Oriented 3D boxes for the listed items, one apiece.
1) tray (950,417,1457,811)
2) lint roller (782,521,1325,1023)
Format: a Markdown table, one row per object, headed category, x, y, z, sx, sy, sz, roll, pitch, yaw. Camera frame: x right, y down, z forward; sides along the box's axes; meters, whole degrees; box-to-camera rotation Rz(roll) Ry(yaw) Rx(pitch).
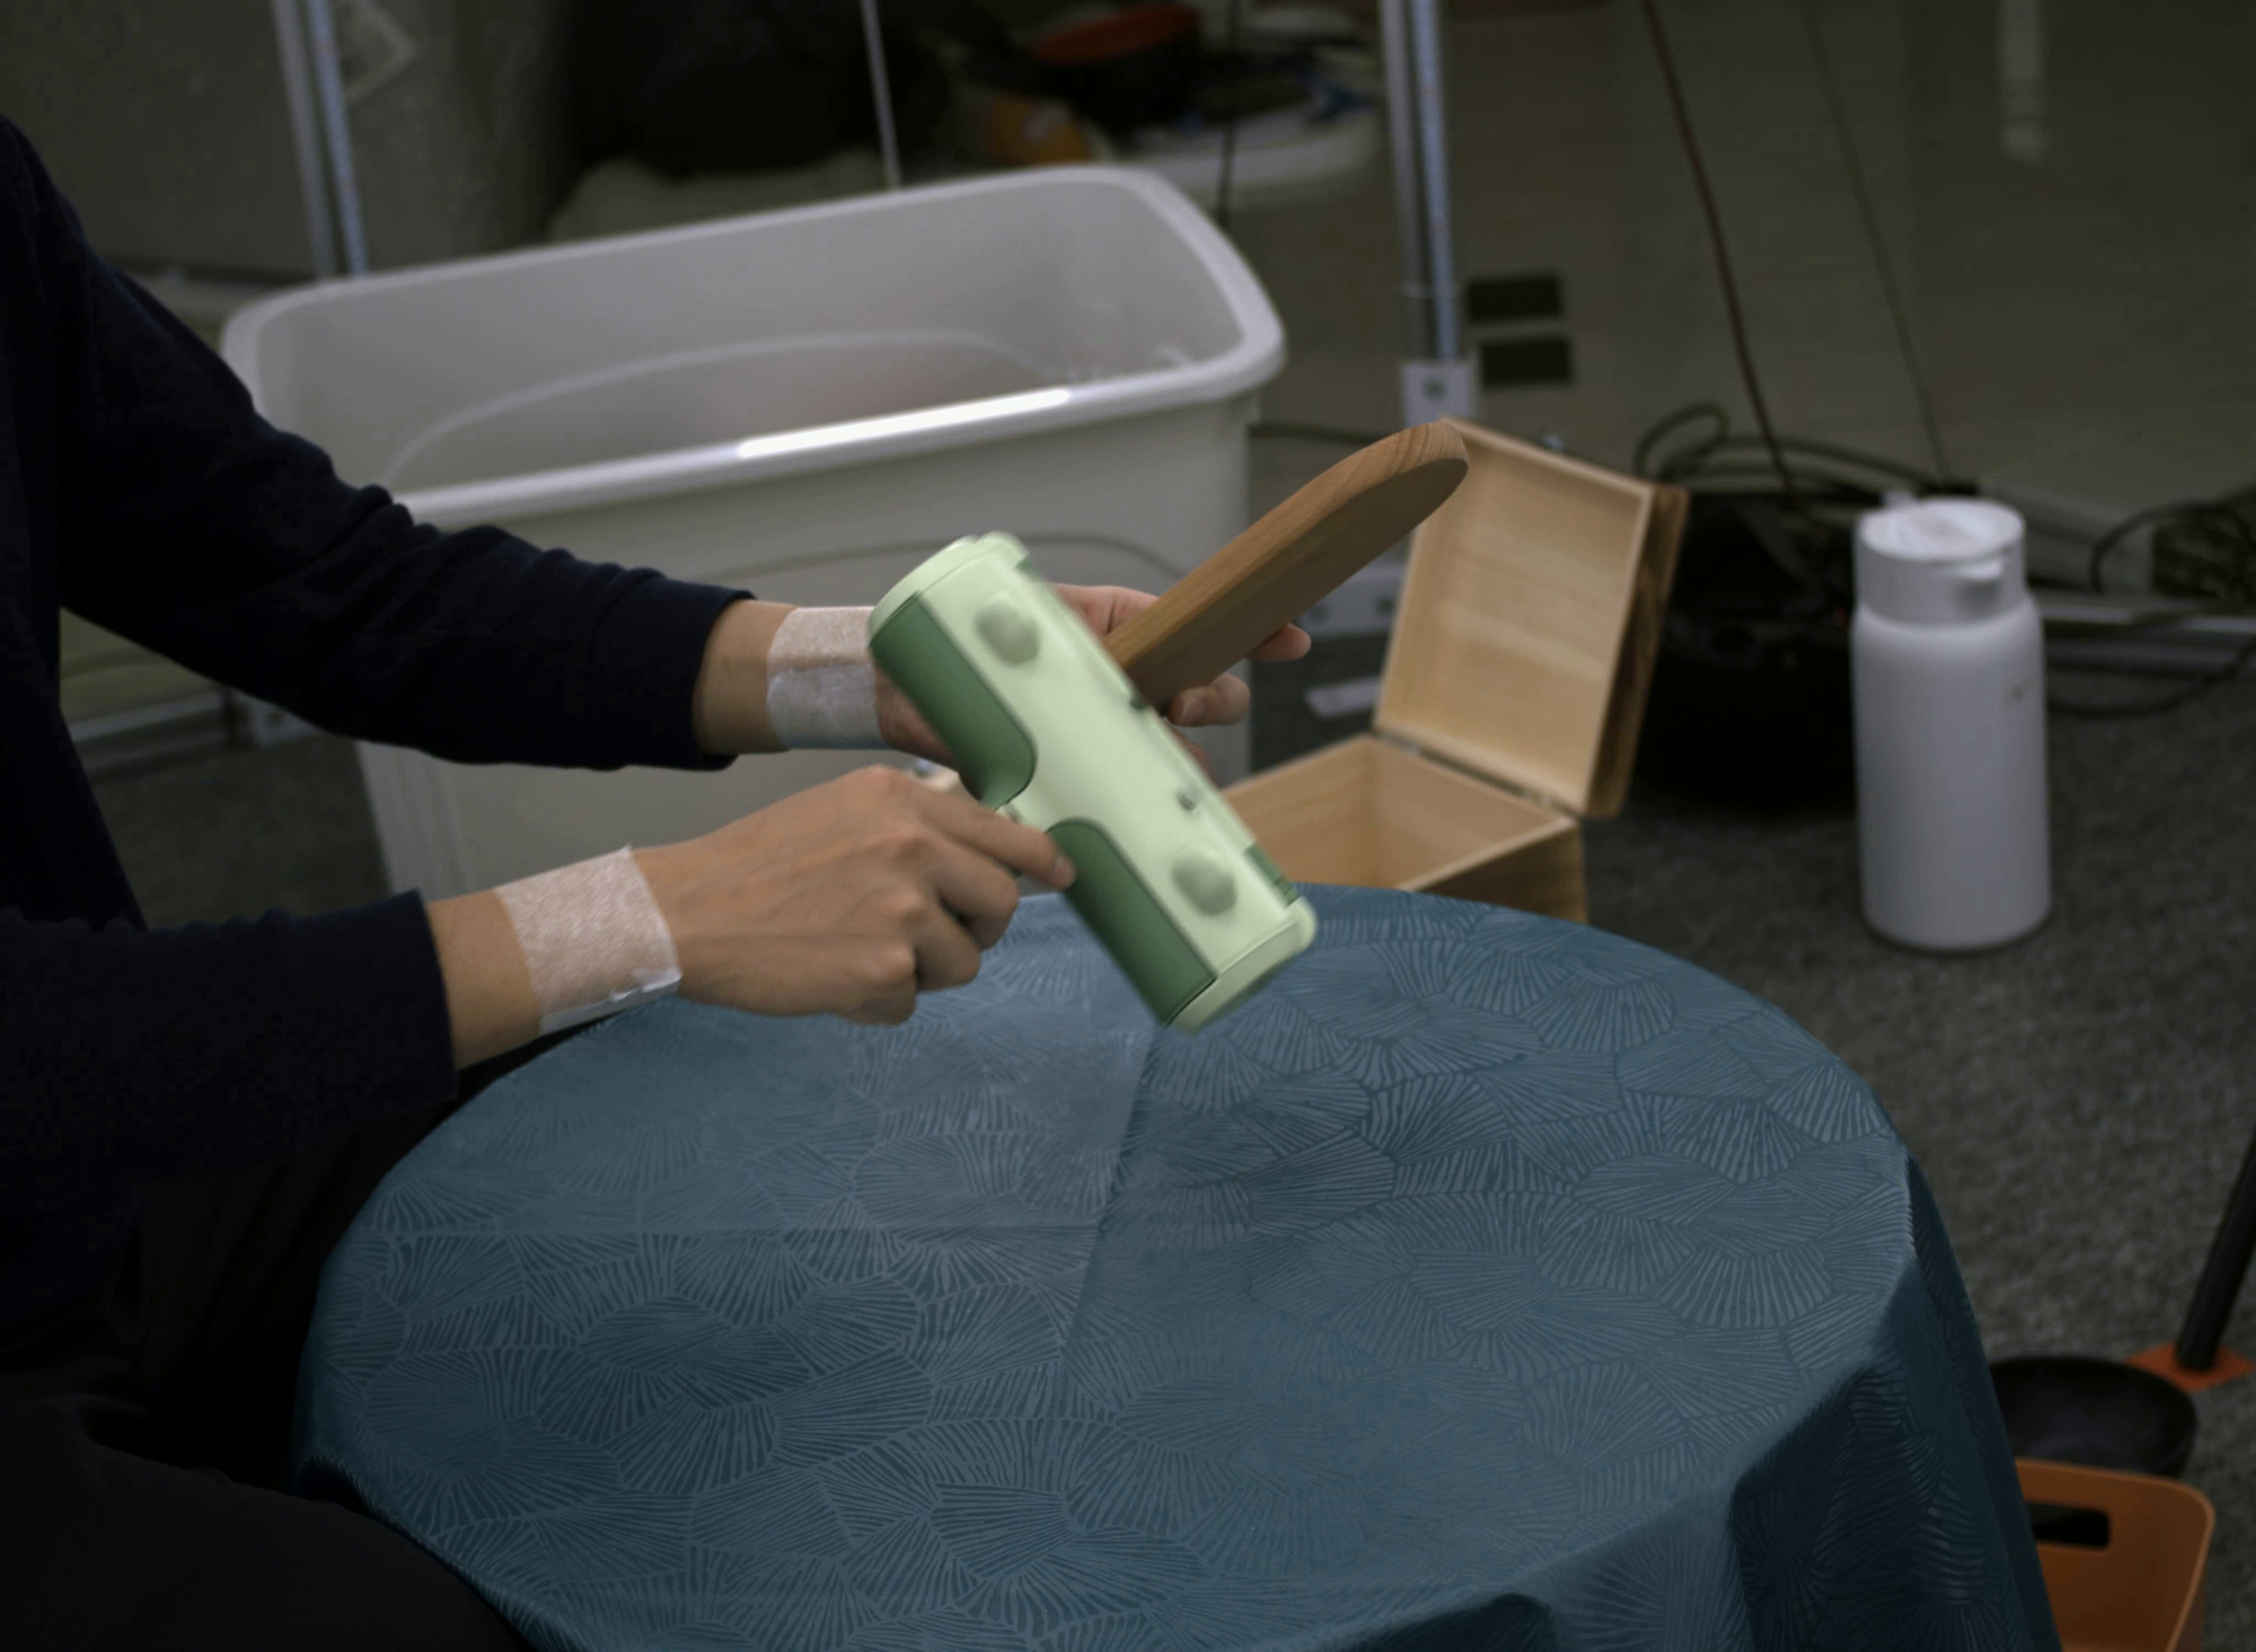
| category | x | y | z | sx | sy | sz | roll | pitch | yaw |
| --- | --- | --- | --- | --- | --- | --- | --- | --- | --- |
| tray | 0.029 | -0.076 | 2.112 | 0.232 | 0.020 | 0.102 | -39 | -18 | 15 |
| lint roller | -0.045 | 0.000 | 2.014 | 0.181 | 0.198 | 0.083 | -34 | -7 | -38 |
